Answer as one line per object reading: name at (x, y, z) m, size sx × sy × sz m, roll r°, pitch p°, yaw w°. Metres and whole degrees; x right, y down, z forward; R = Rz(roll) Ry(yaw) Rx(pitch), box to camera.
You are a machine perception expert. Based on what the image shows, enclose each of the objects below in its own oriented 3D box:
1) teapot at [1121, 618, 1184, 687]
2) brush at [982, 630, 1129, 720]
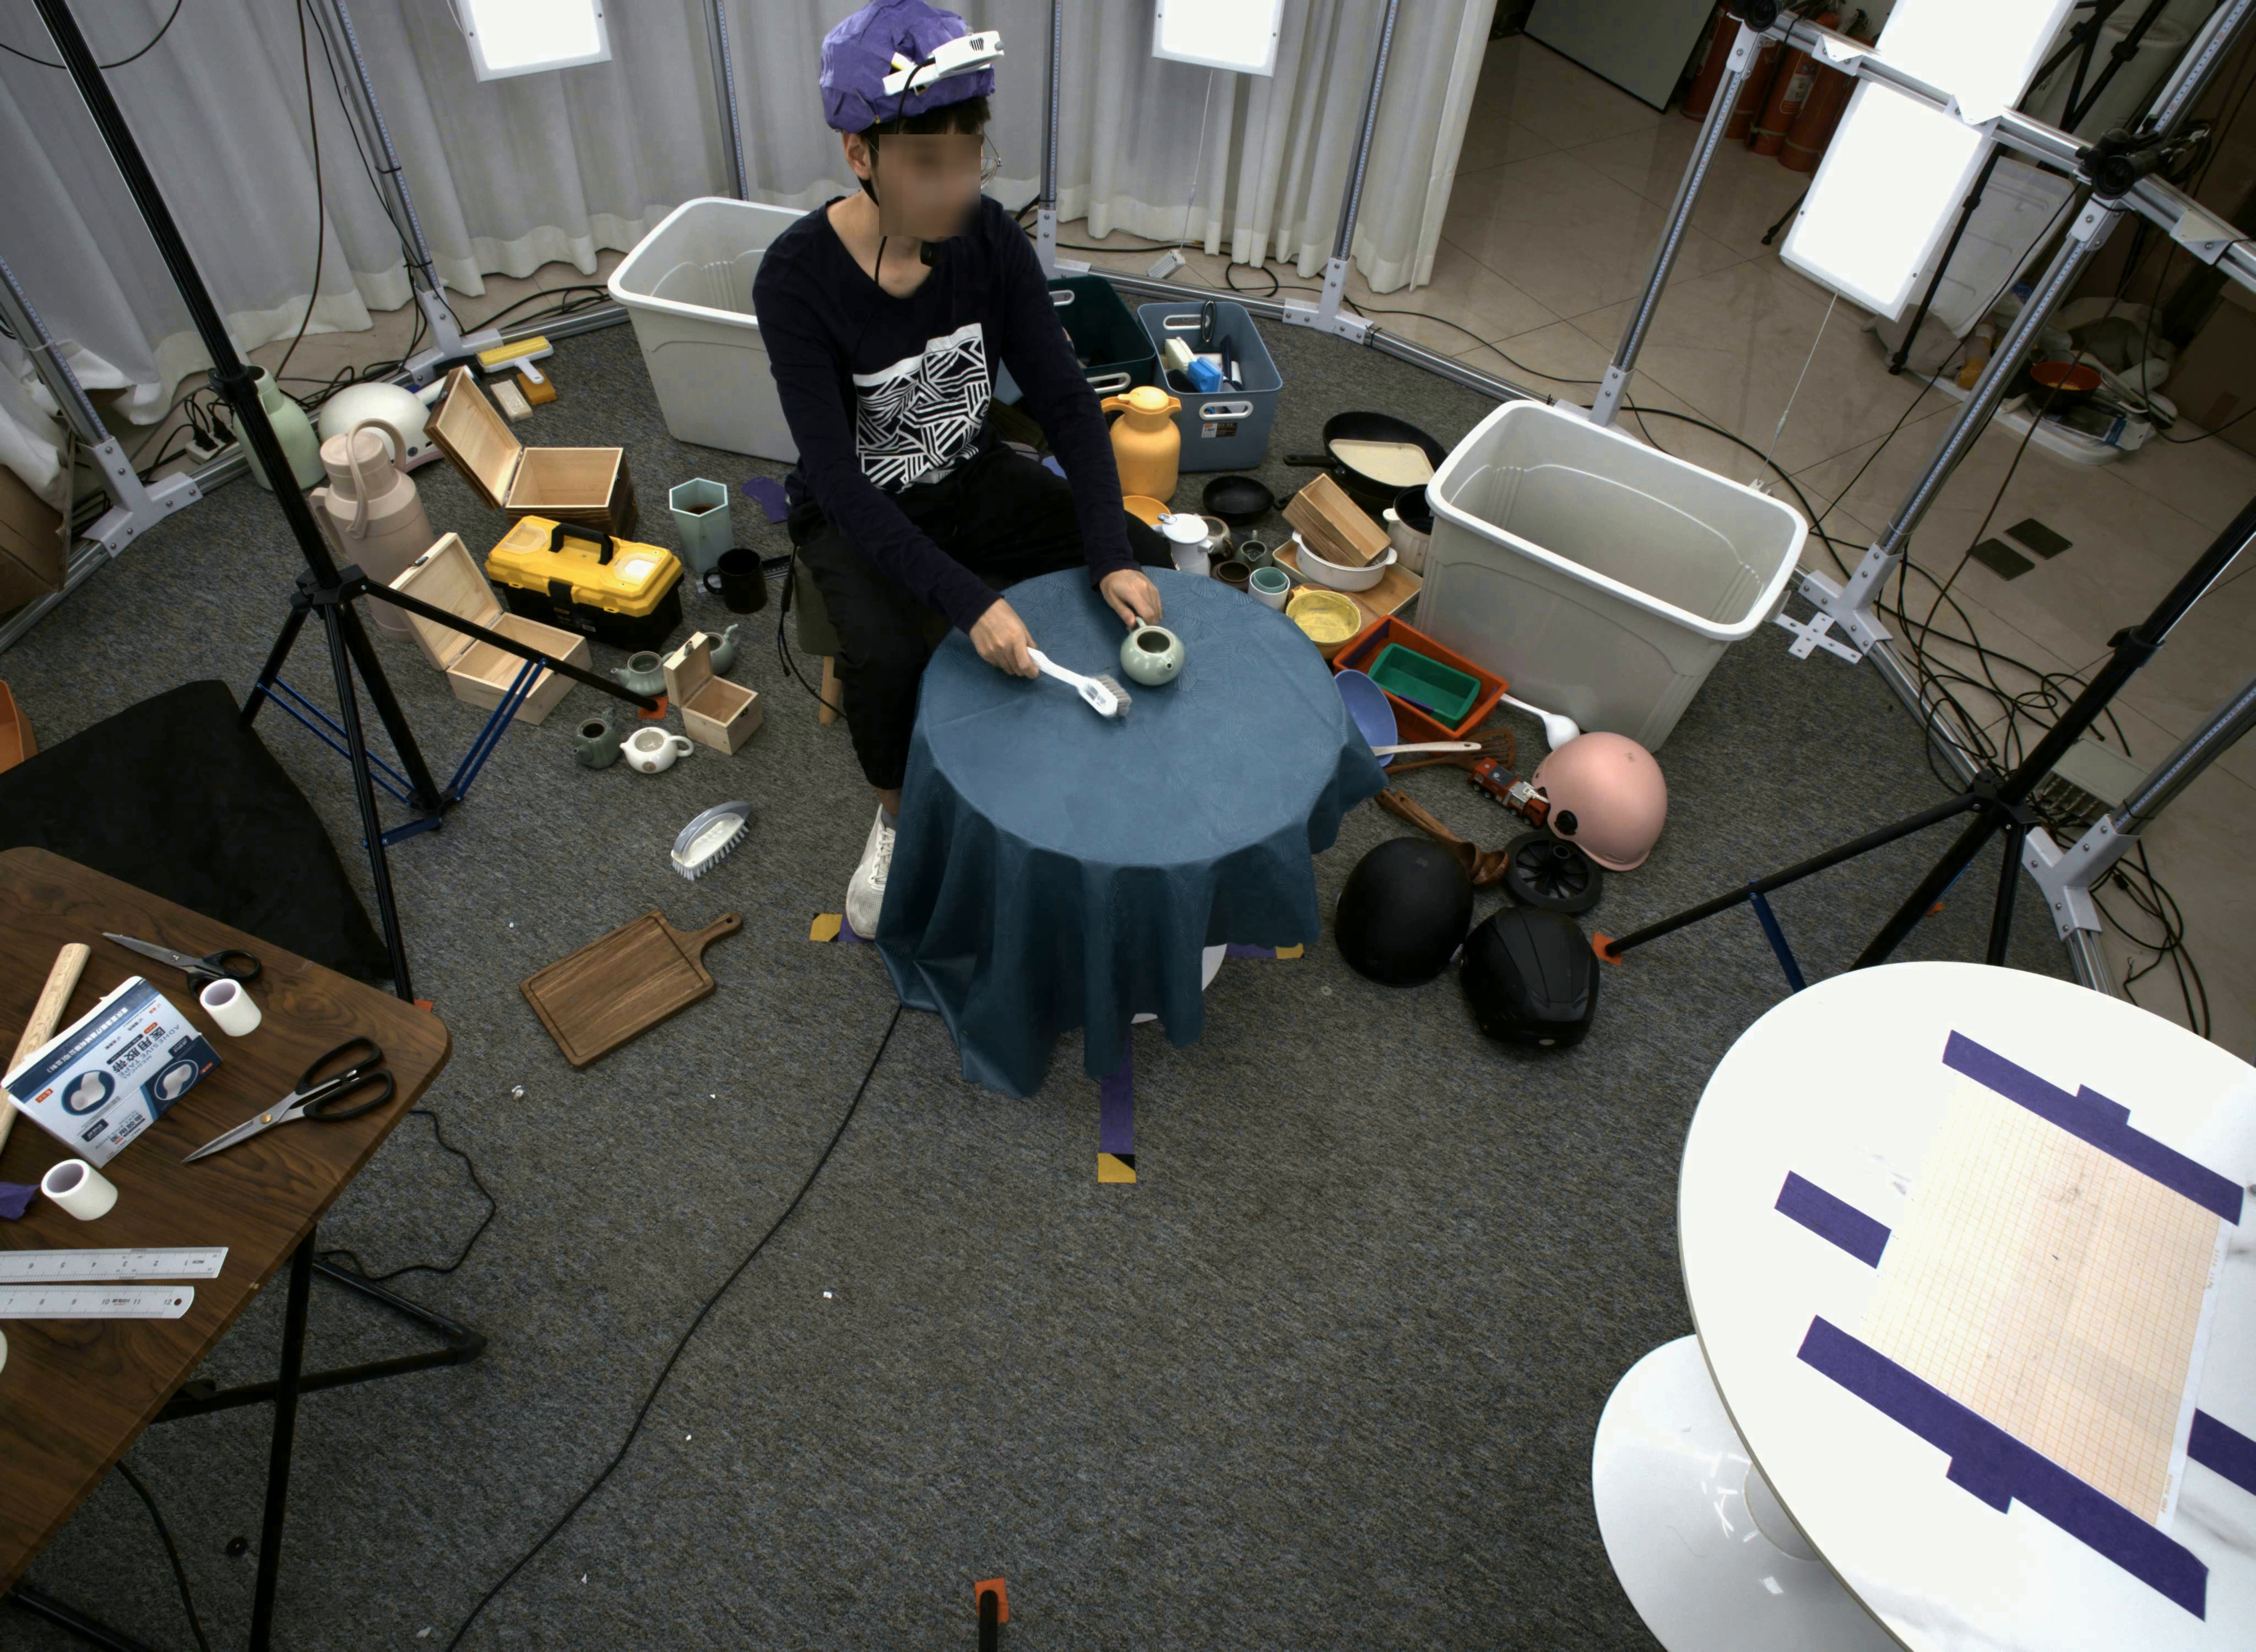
teapot at (0.032, -0.249, 1.849) m, size 0.091 × 0.059 × 0.131 m, roll -15°, pitch 51°, yaw -10°
brush at (-0.101, -0.224, 1.817) m, size 0.246 × 0.033 × 0.051 m, roll 33°, pitch 53°, yaw 20°
